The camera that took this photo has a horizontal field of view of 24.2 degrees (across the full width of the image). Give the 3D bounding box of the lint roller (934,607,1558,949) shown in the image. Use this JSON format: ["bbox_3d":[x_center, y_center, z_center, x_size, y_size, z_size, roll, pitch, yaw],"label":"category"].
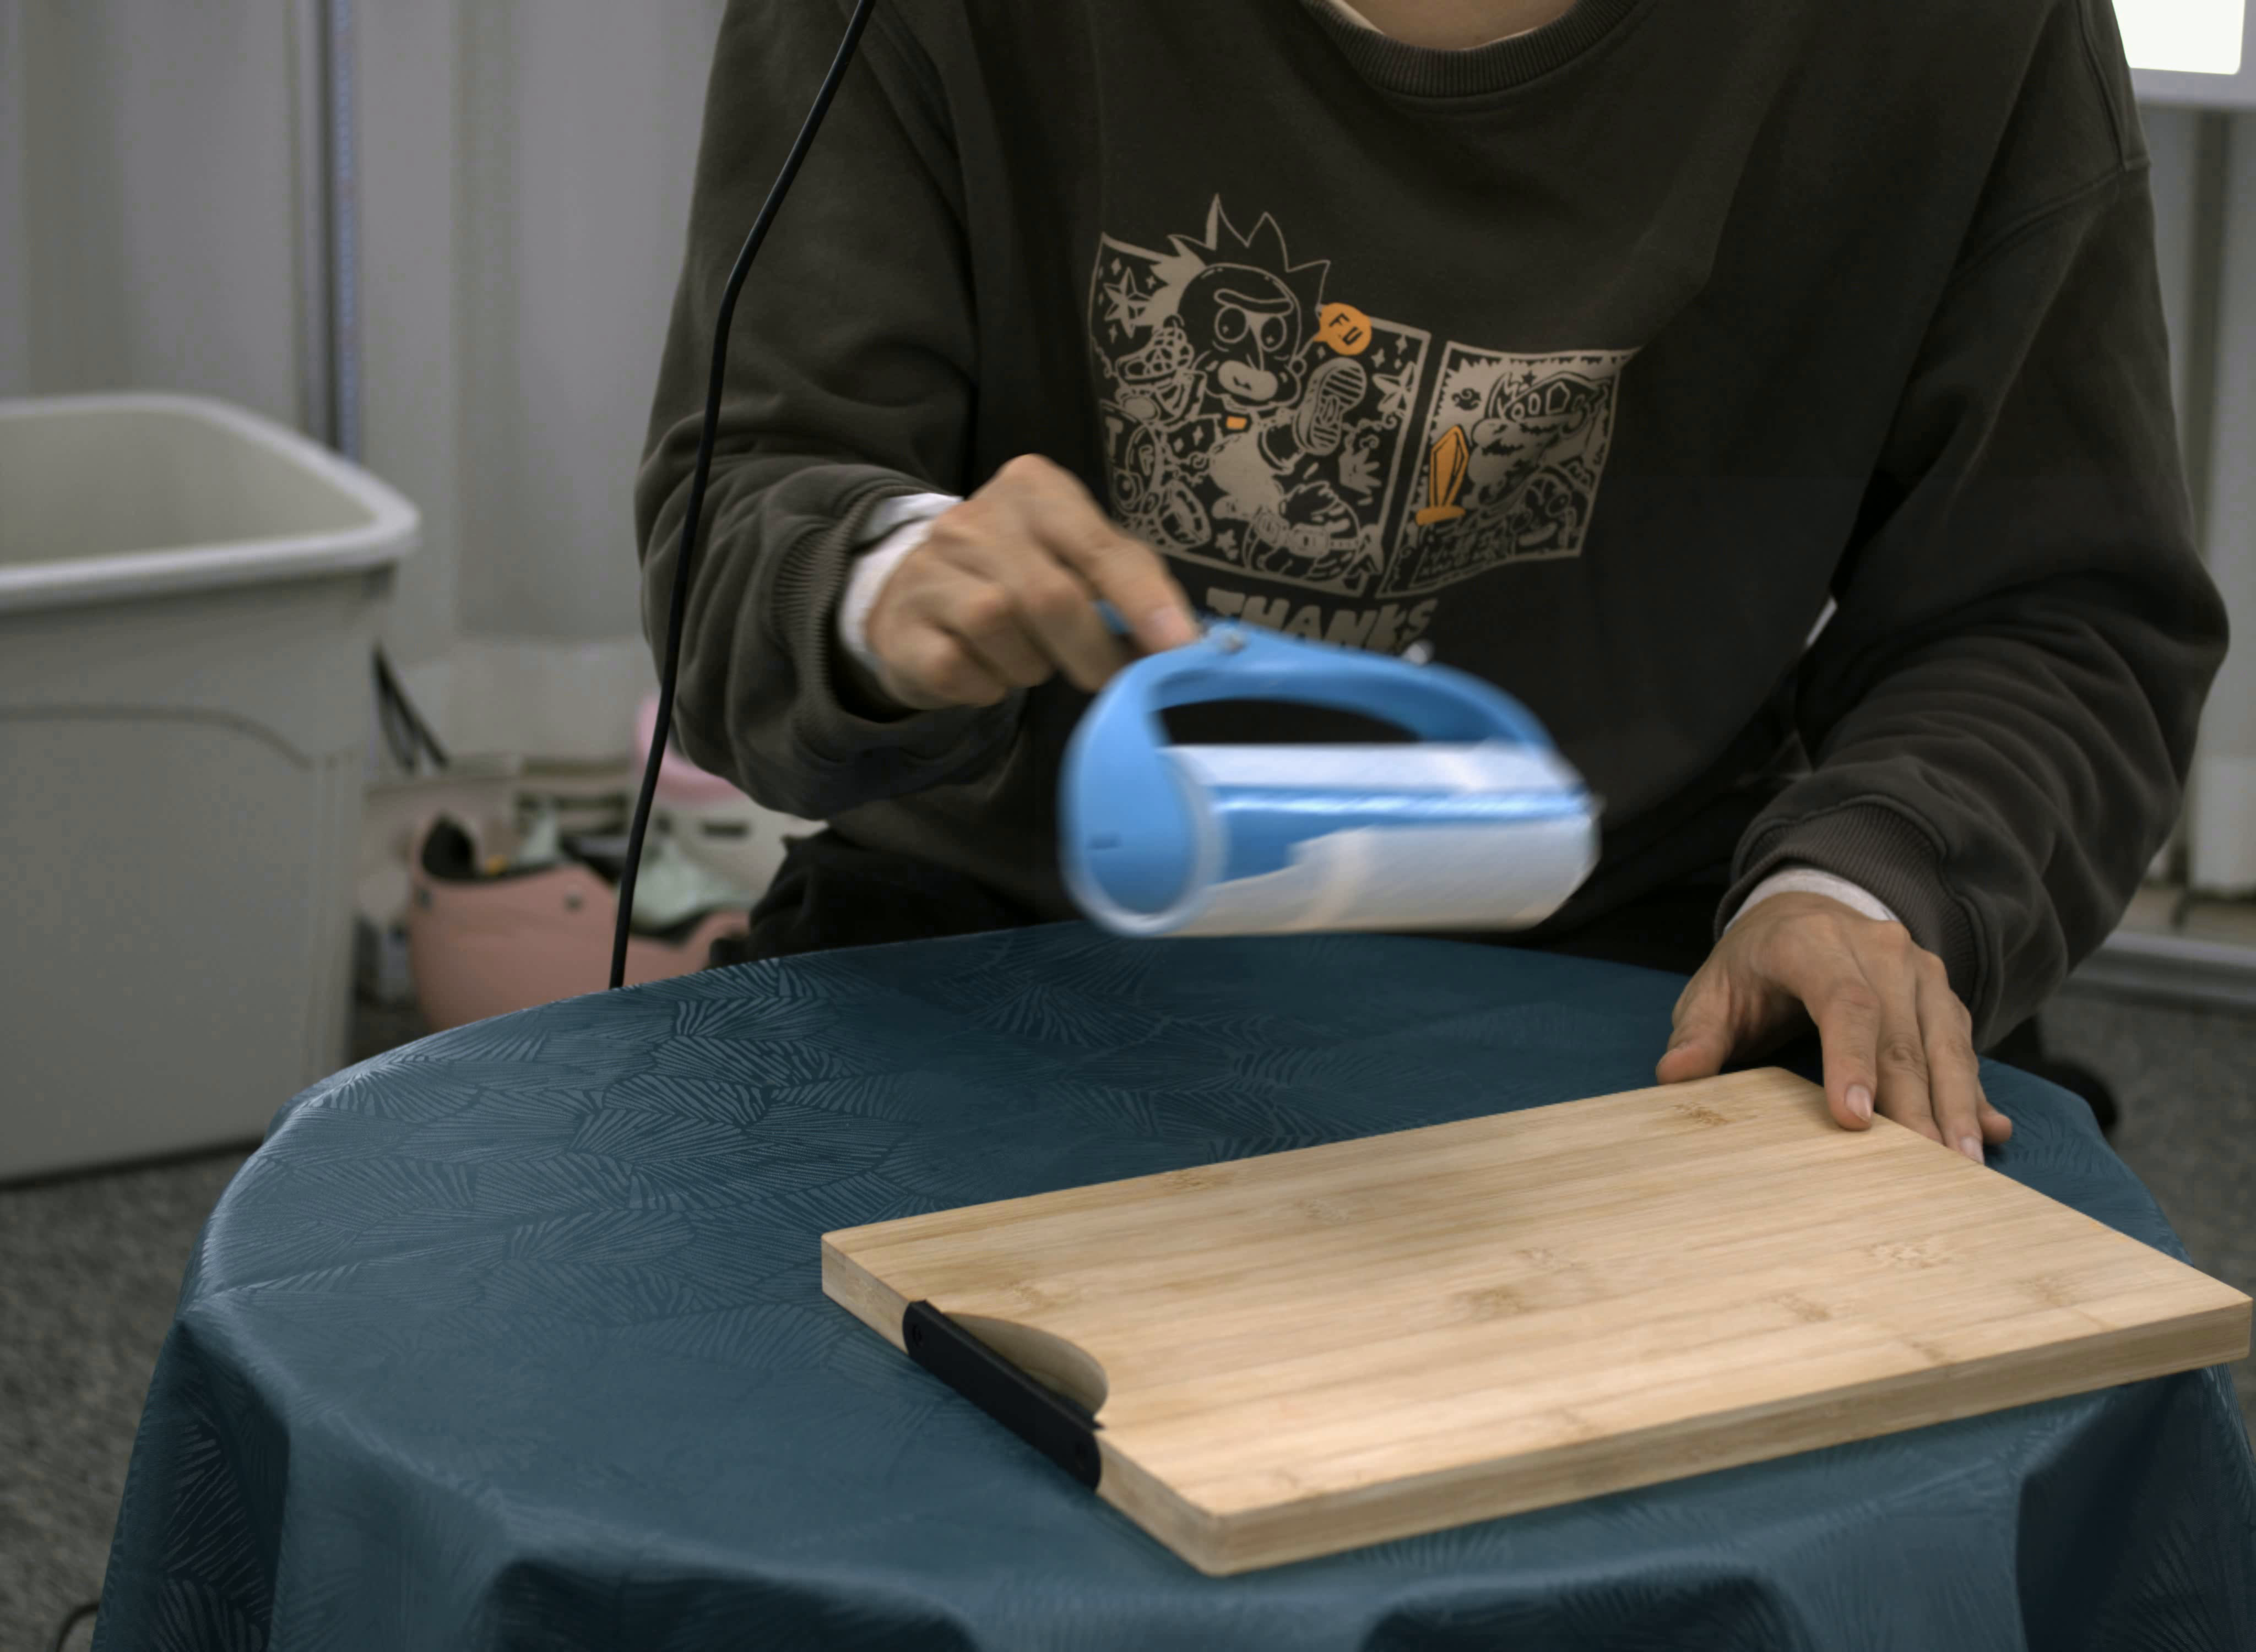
[{"bbox_3d":[0.013,-0.028,1.559,0.178,0.068,0.230,42,24,28],"label":"lint roller"}]

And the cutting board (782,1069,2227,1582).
[{"bbox_3d":[0.108,0.136,1.519,0.350,0.024,0.247,-8,17,-28],"label":"cutting board"}]
